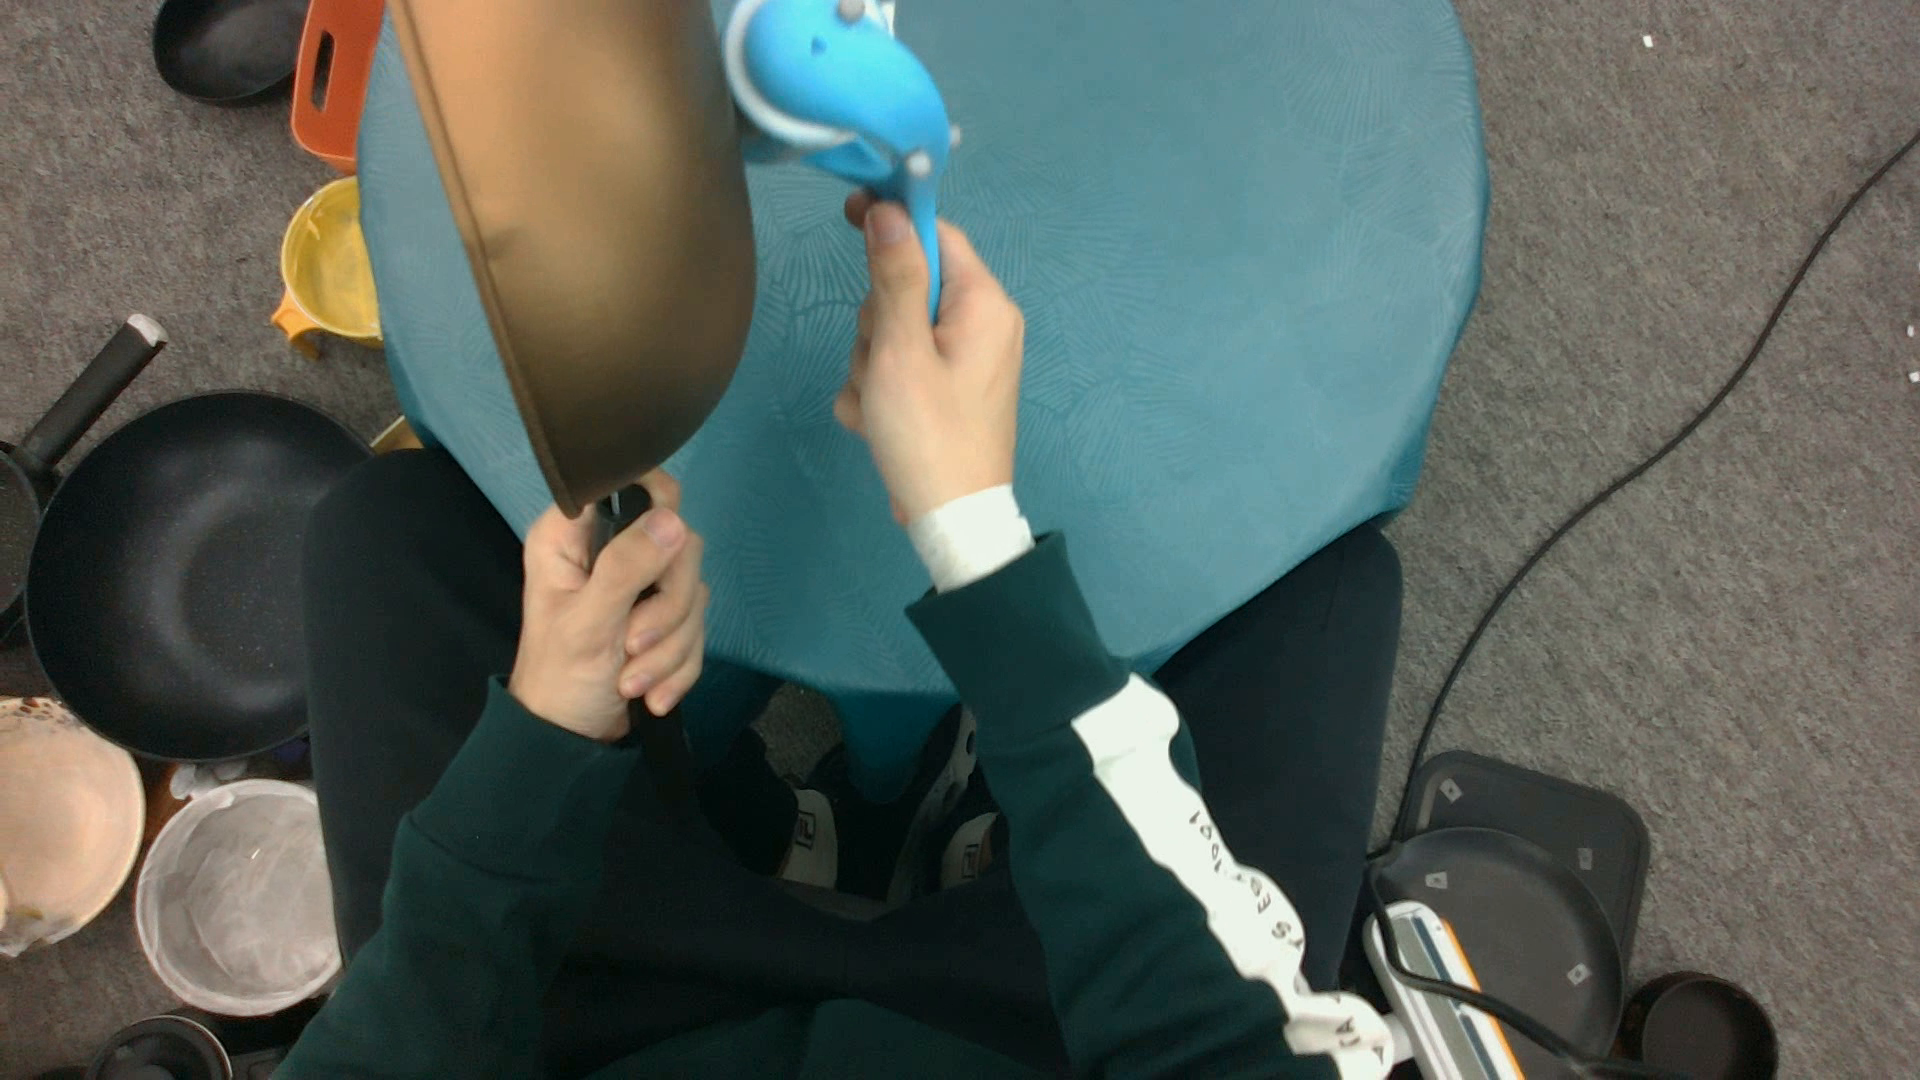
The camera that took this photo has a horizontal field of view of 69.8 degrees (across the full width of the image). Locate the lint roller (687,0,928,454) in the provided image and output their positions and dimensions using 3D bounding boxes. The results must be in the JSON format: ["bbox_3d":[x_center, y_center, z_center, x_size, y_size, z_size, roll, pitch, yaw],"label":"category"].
[{"bbox_3d":[-0.052,-0.126,0.530,0.068,0.229,0.180,-27,112,-9],"label":"lint roller"}]

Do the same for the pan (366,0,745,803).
[{"bbox_3d":[-0.121,-0.076,0.511,0.087,0.289,0.461,-16,125,-11],"label":"pan"}]
